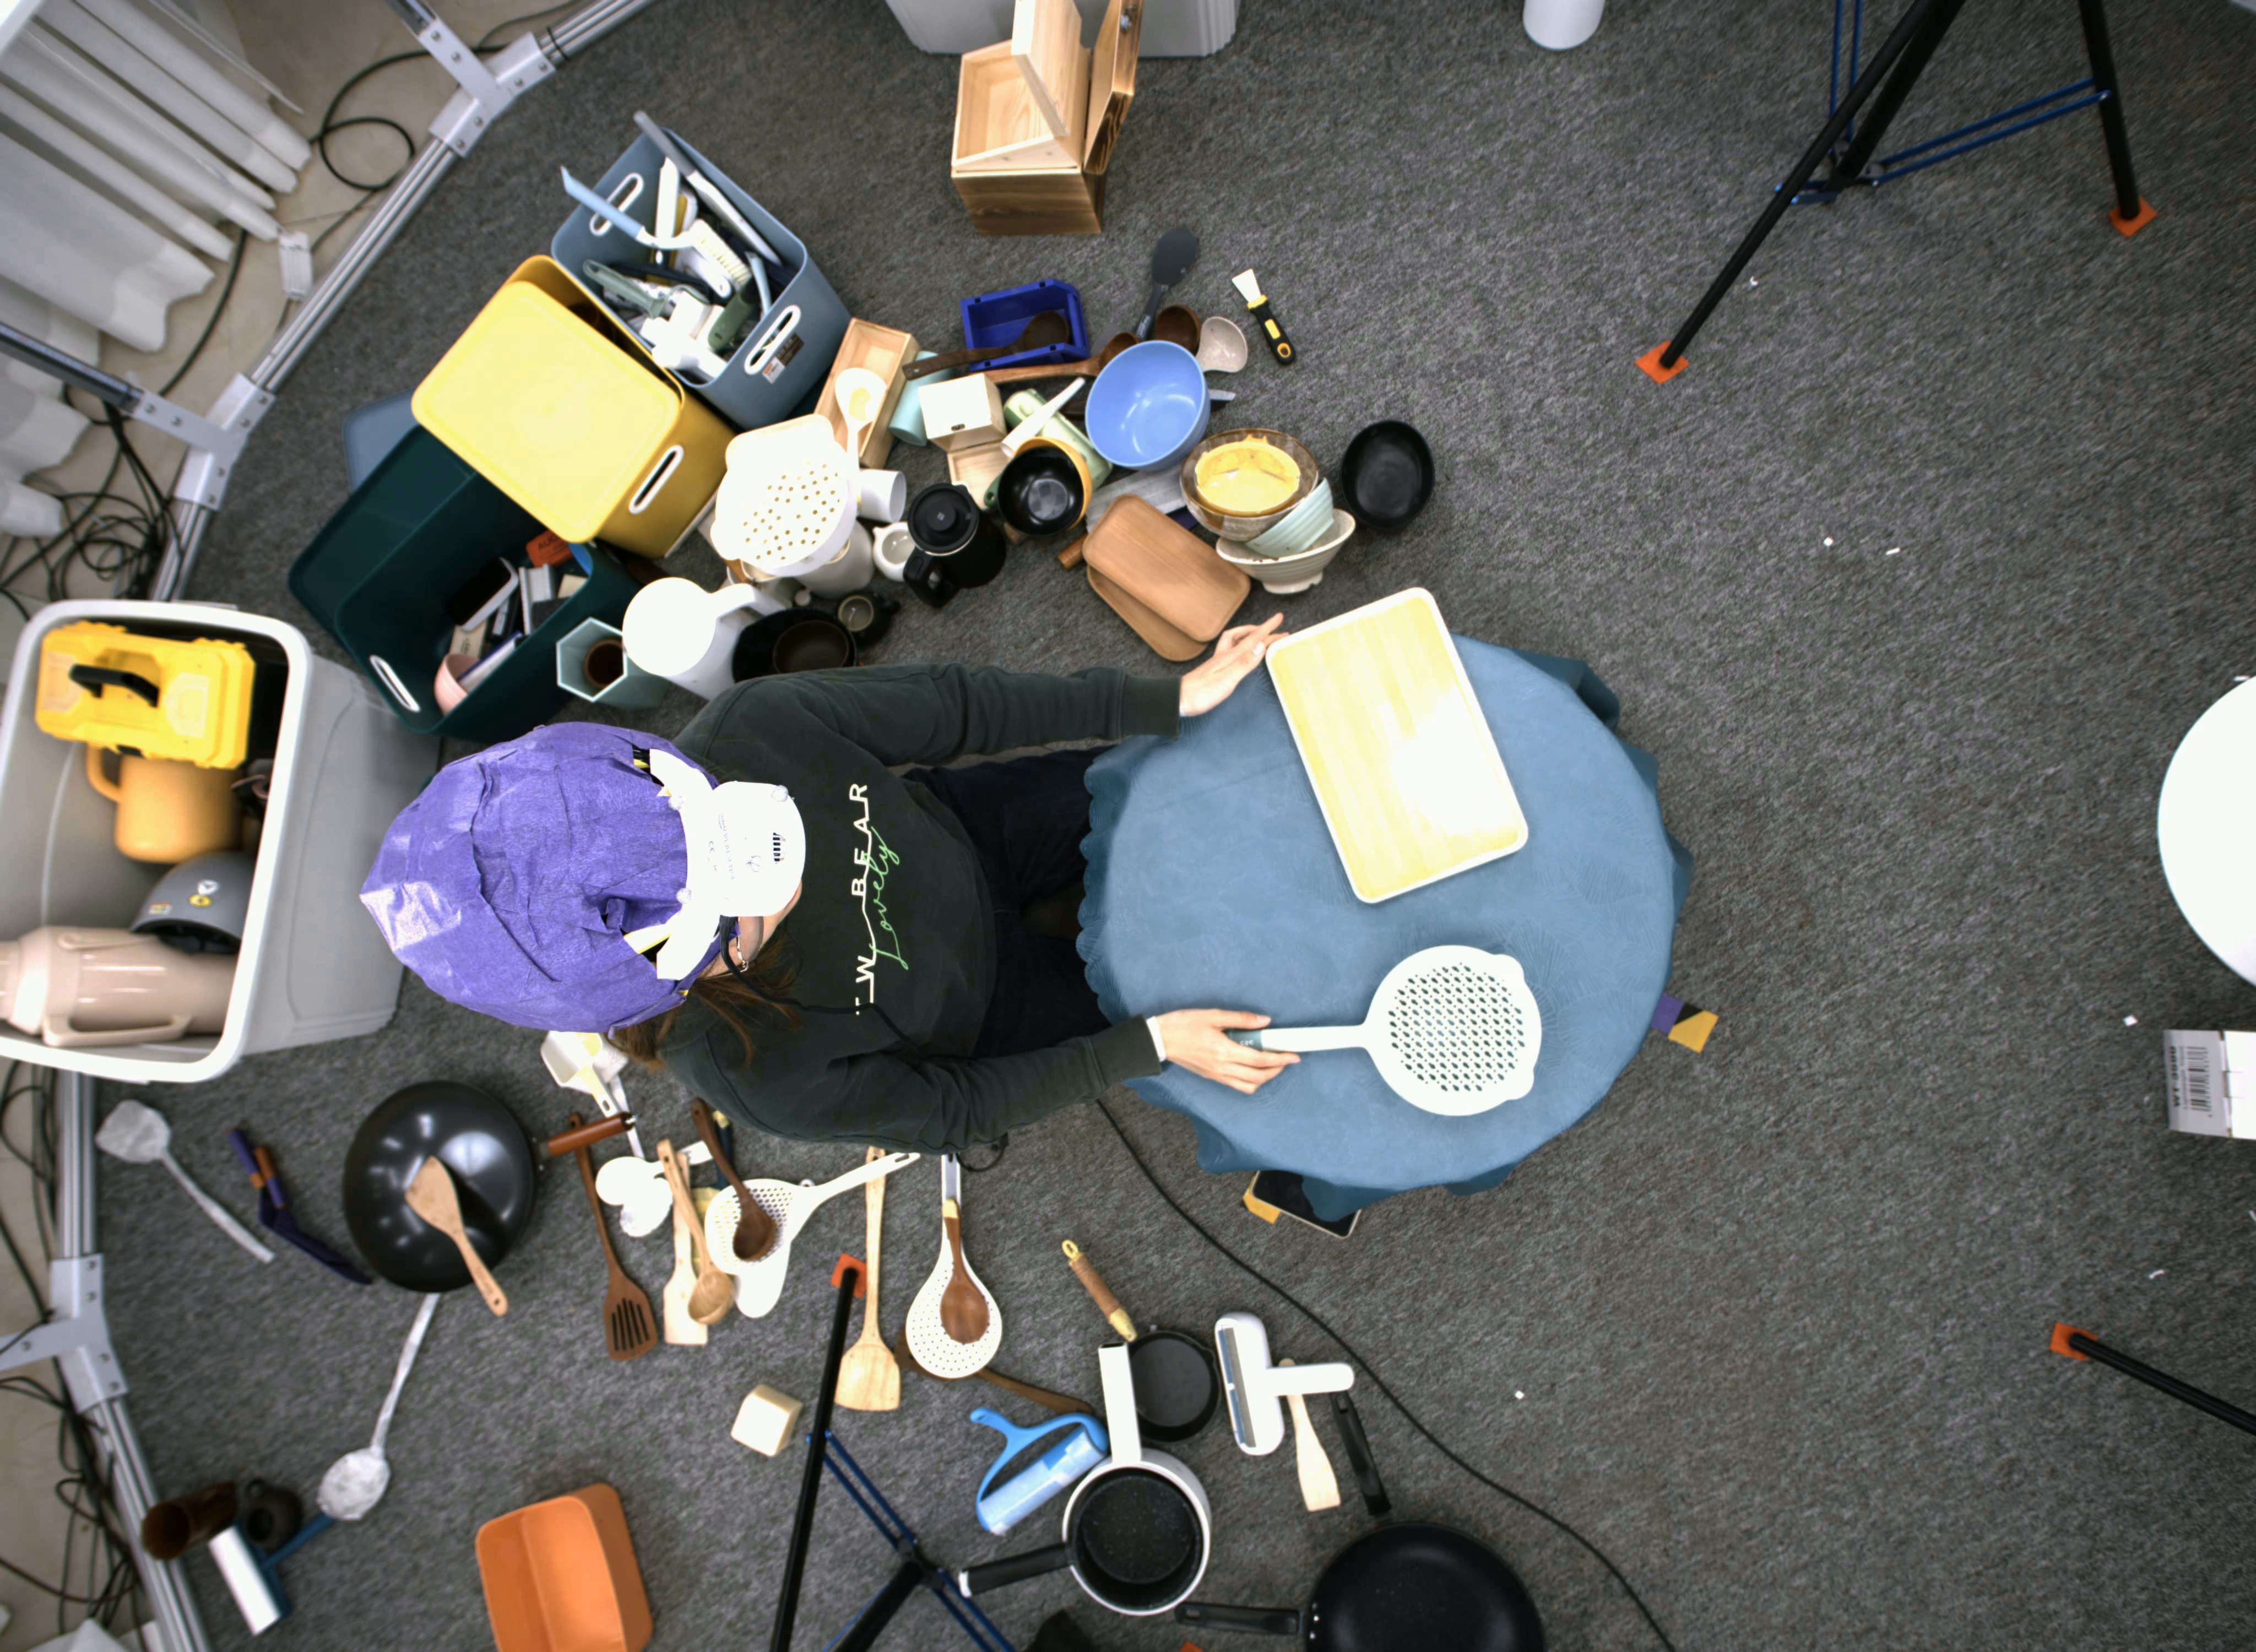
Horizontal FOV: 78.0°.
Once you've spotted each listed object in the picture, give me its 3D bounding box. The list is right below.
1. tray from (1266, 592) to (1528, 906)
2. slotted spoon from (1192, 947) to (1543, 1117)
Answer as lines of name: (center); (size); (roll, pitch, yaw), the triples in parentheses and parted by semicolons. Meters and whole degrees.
tray: (0.283, -0.084, 1.460); (0.192, 0.027, 0.298); (-21, 82, 8)
slotted spoon: (0.240, 0.216, 1.428); (0.360, 0.075, 0.168); (-5, 84, 10)
